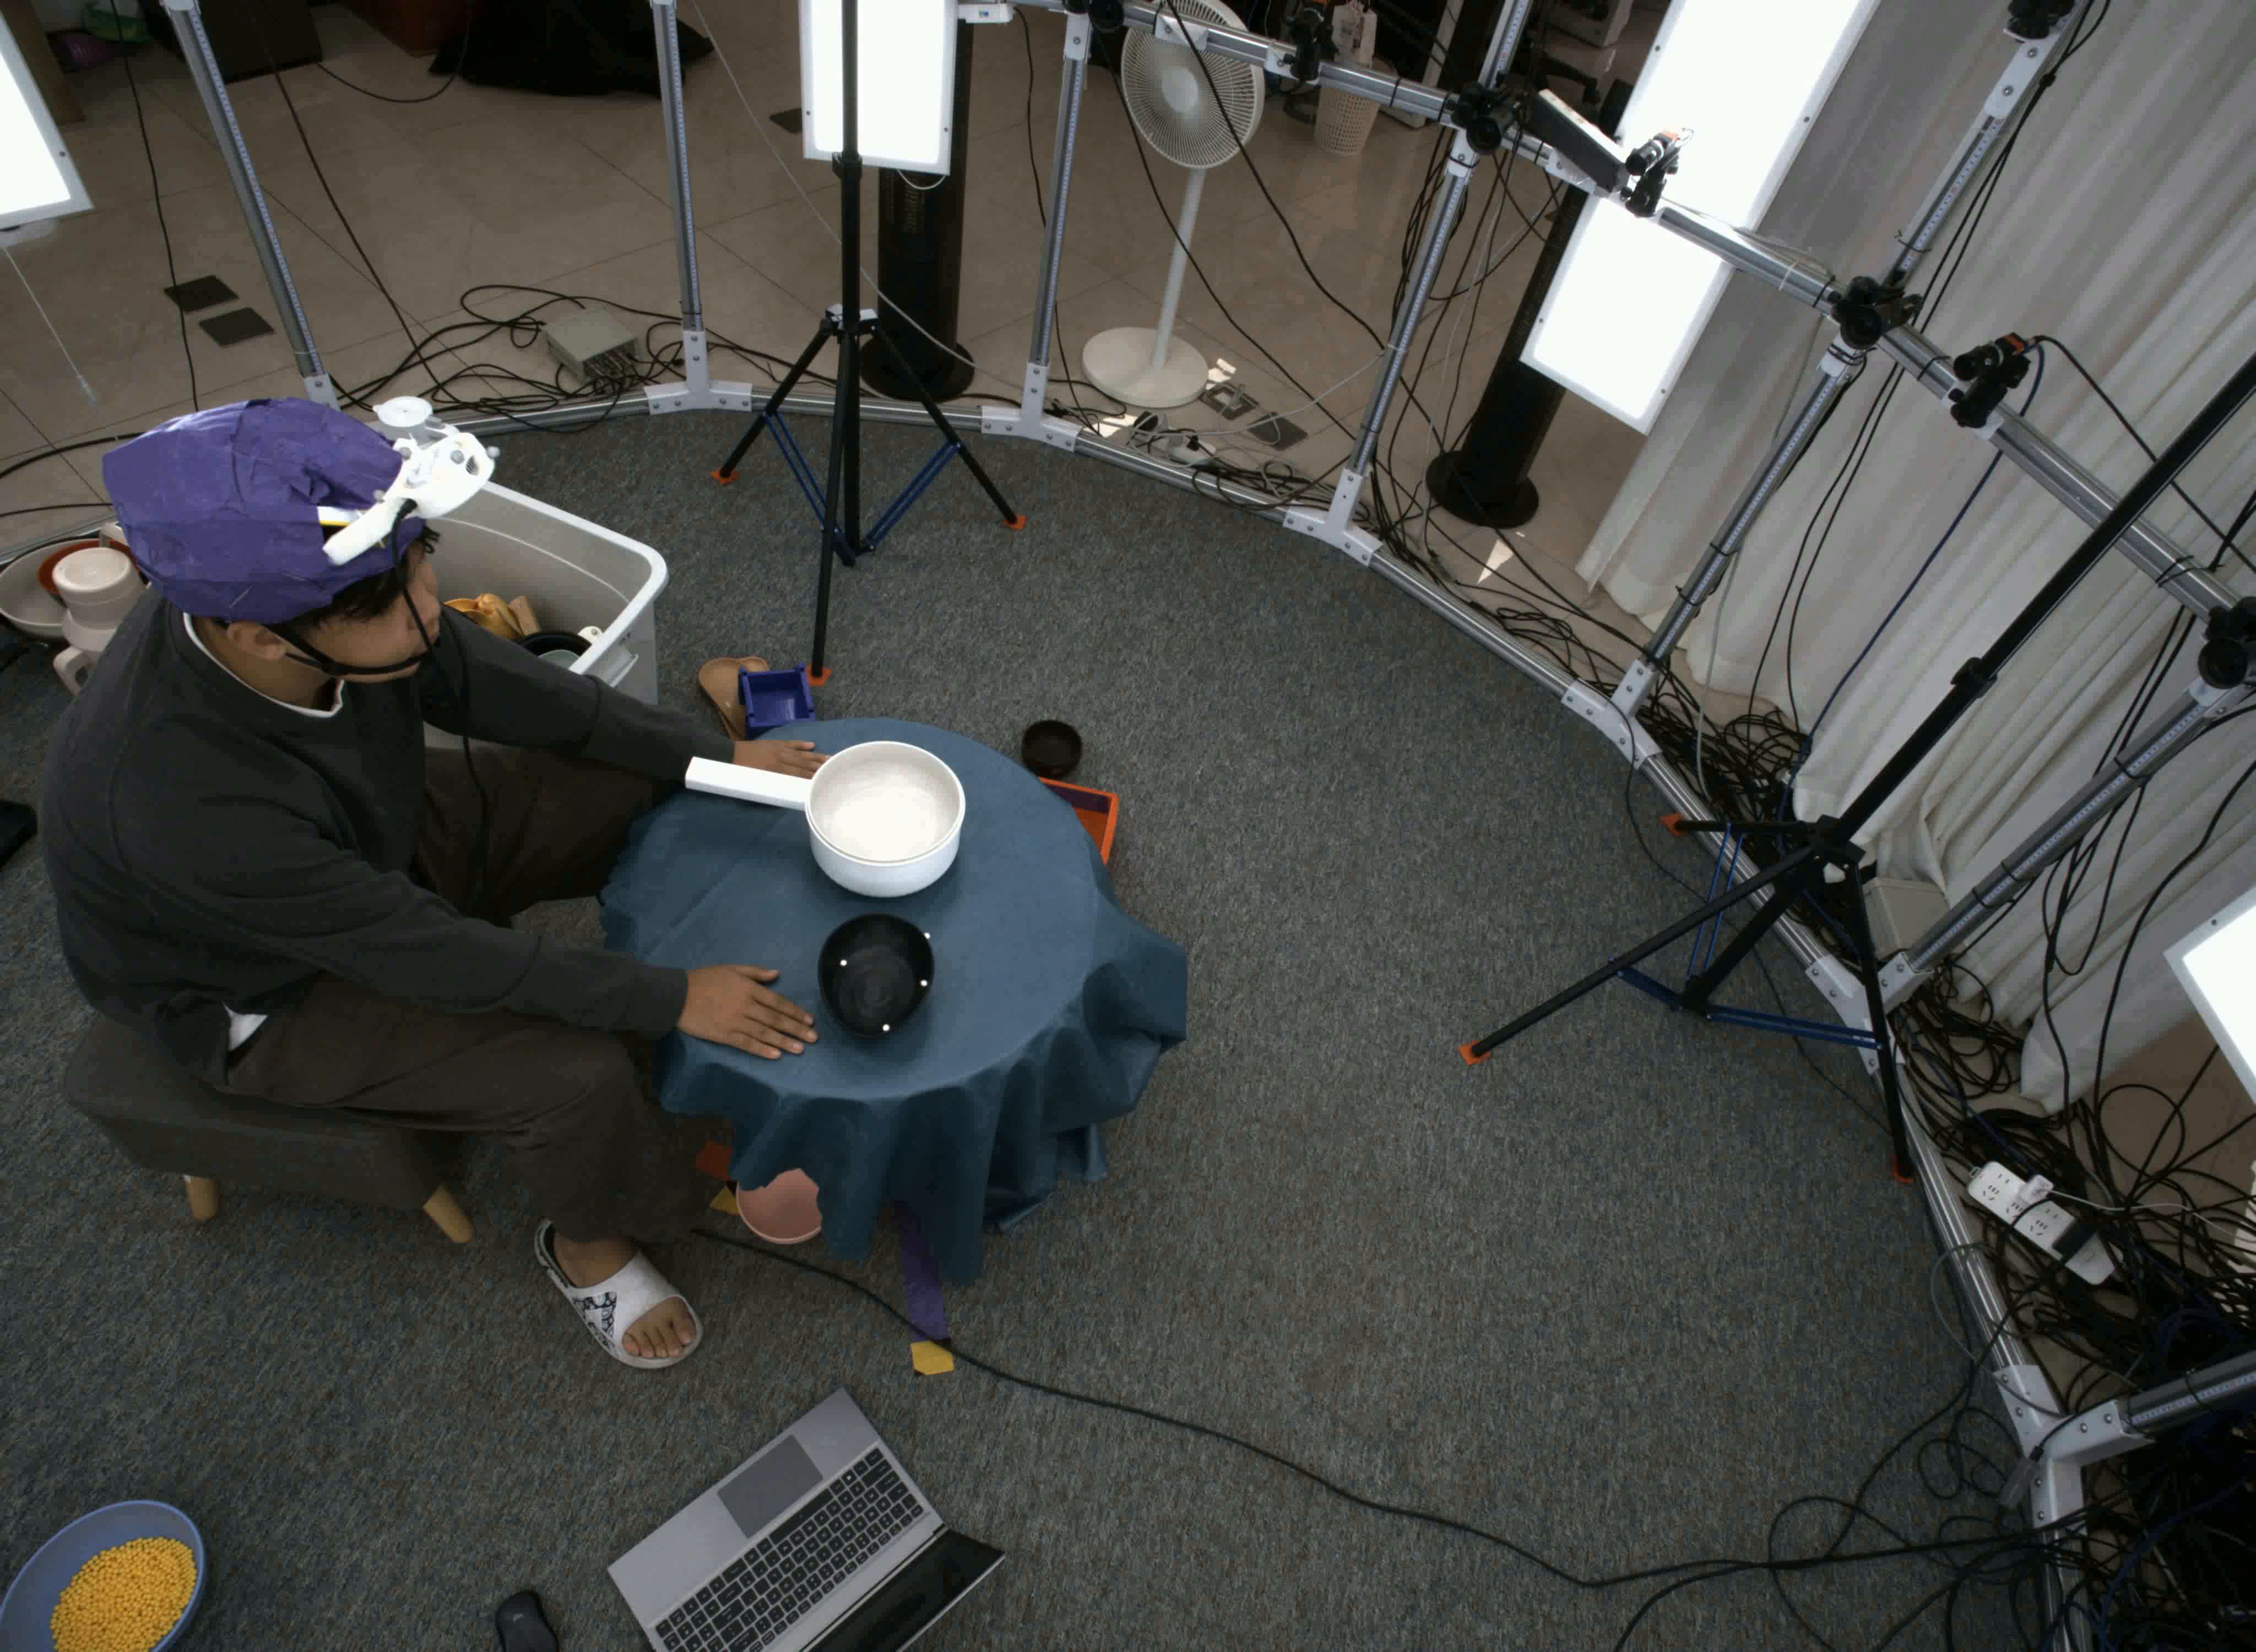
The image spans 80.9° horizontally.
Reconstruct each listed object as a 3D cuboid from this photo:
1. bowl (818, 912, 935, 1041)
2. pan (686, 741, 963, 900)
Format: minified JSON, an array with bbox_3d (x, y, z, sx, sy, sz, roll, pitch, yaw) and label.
[{"bbox_3d":[-0.303,0.187,1.568,0.137,0.068,0.167,5,54,-9],"label":"bowl"},{"bbox_3d":[-0.390,-0.015,1.683,0.352,0.104,0.198,9,54,-4],"label":"pan"}]
